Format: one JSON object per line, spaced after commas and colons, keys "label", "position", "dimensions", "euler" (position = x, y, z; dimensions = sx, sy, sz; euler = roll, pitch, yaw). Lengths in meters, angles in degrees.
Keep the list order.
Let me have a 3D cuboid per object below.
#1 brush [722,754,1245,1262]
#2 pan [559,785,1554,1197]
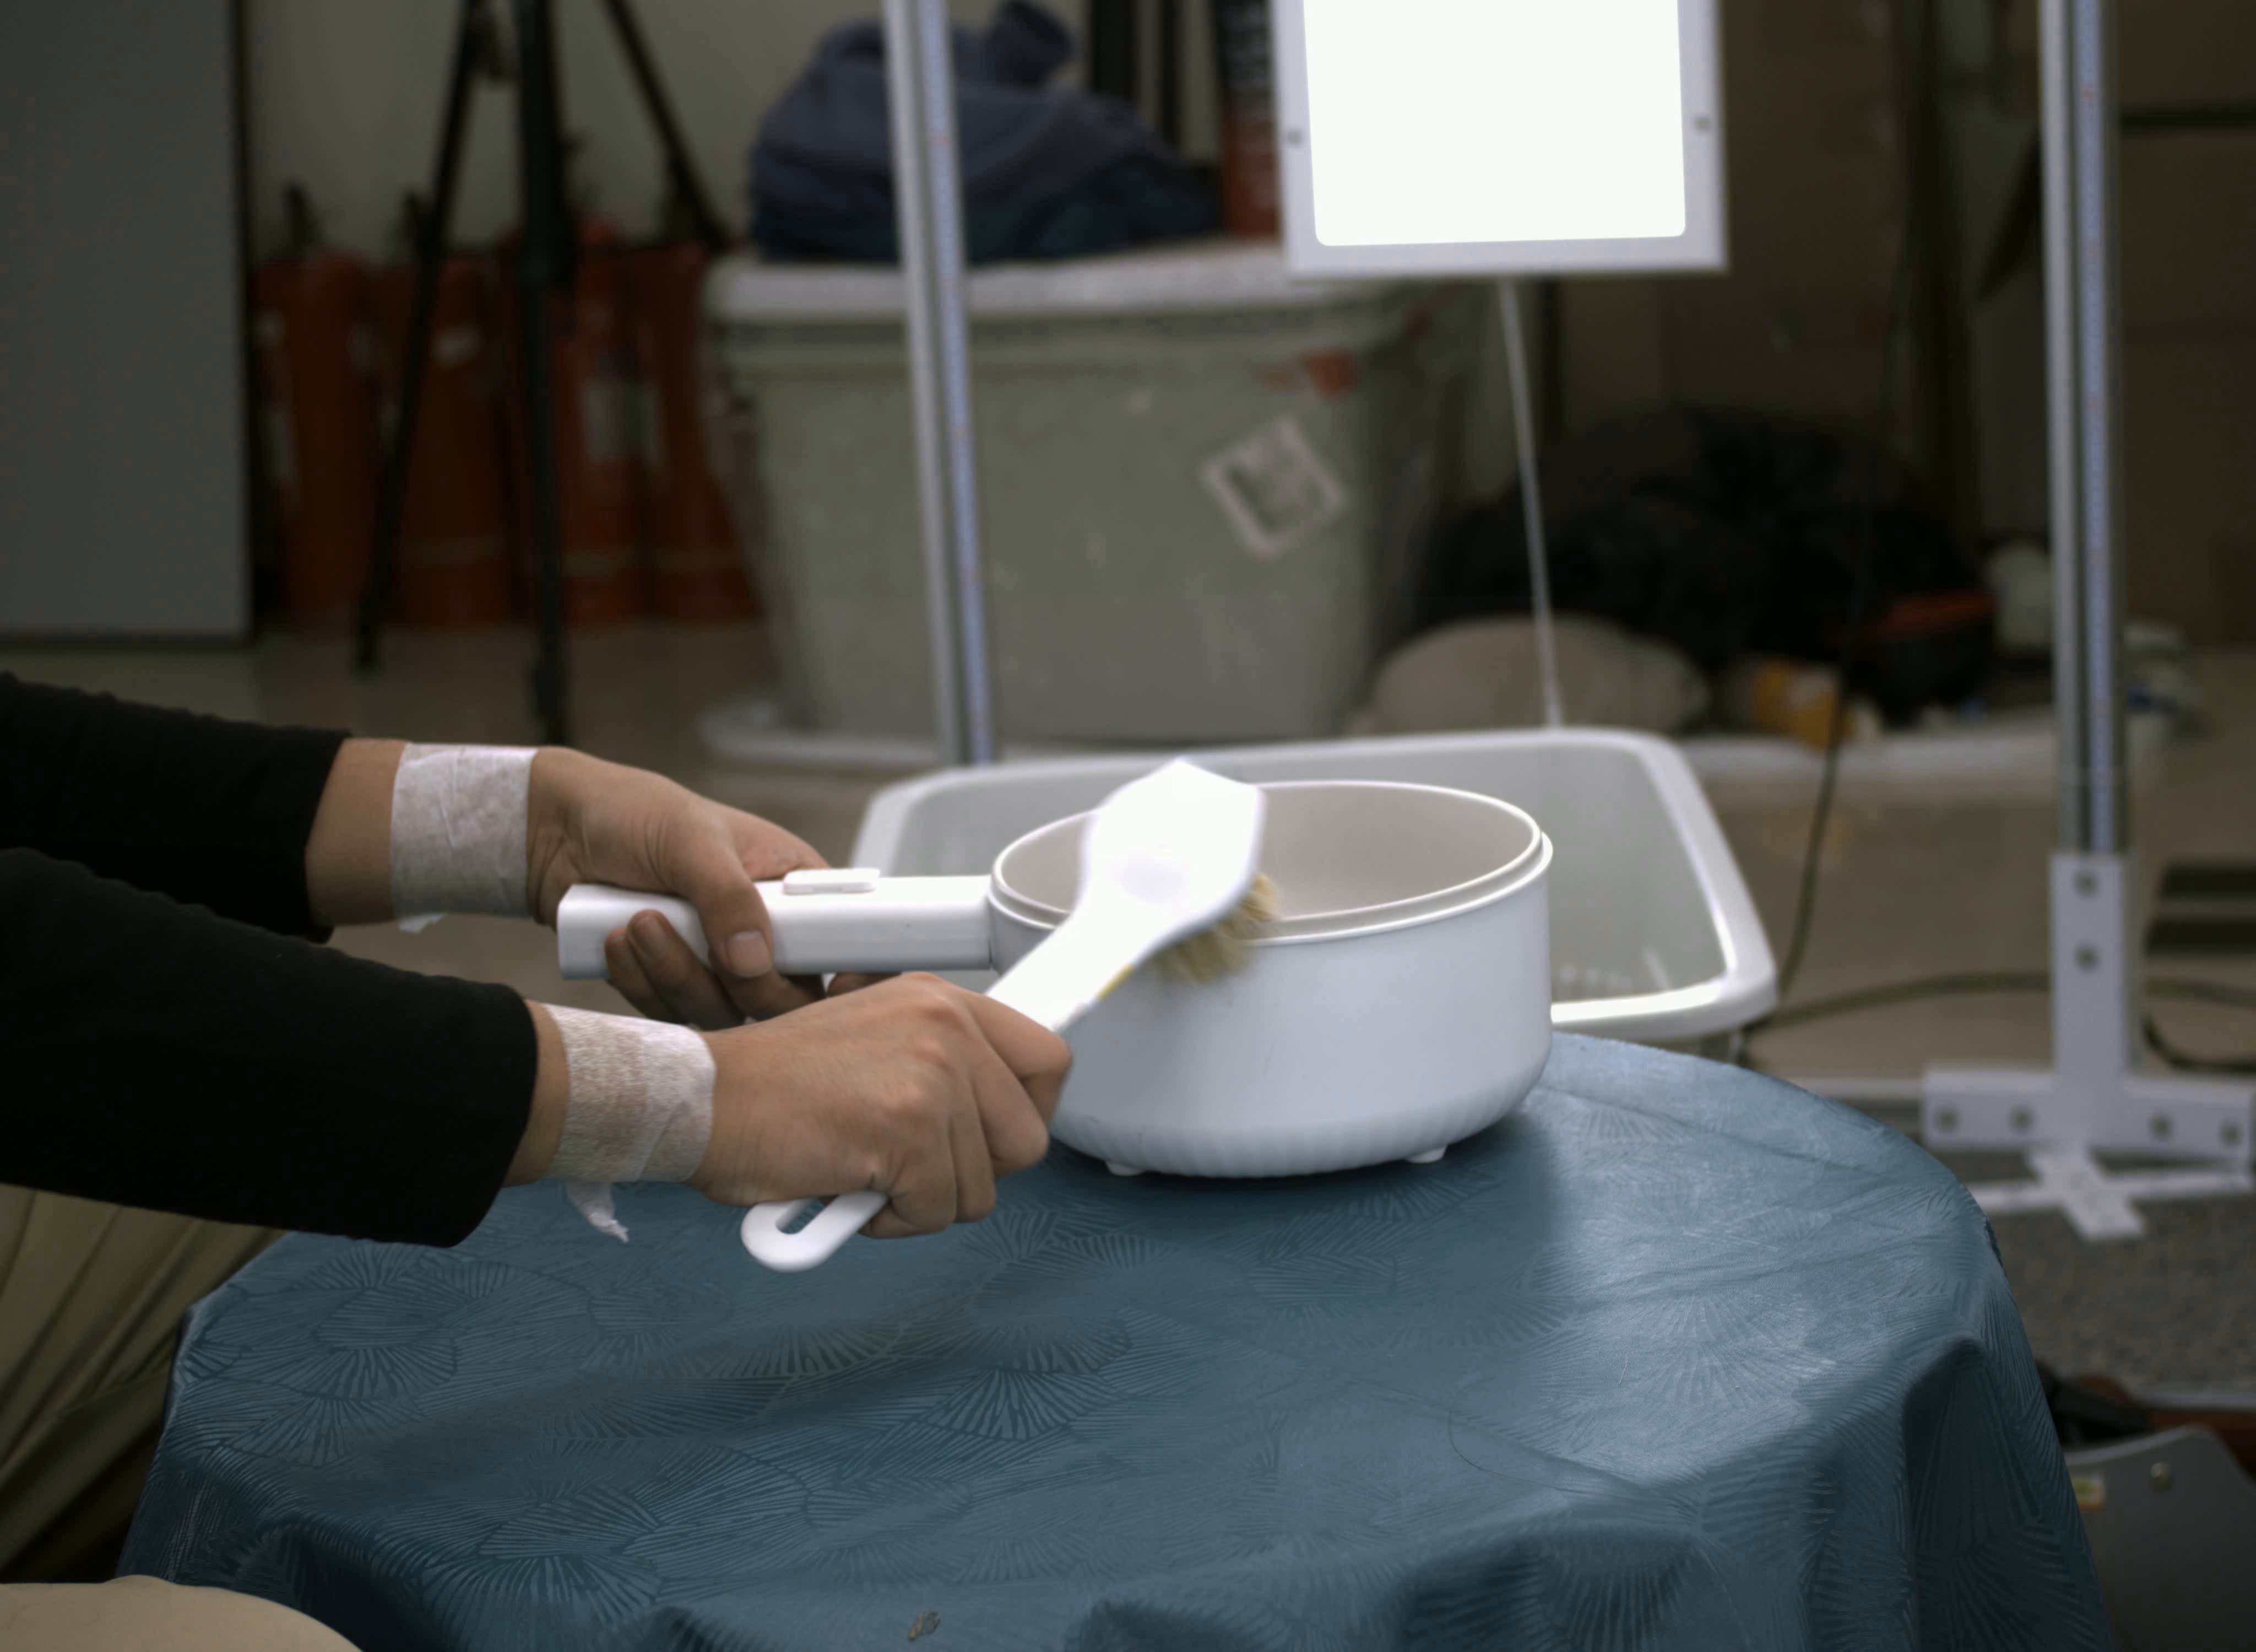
{"label": "brush", "position": [-0.049, 0.071, 1.784], "dimensions": [0.069, 0.056, 0.261], "euler": [20, 47, 26]}
{"label": "pan", "position": [-0.023, 0.066, 1.963], "dimensions": [0.356, 0.102, 0.199], "euler": [-4, 16, 8]}
